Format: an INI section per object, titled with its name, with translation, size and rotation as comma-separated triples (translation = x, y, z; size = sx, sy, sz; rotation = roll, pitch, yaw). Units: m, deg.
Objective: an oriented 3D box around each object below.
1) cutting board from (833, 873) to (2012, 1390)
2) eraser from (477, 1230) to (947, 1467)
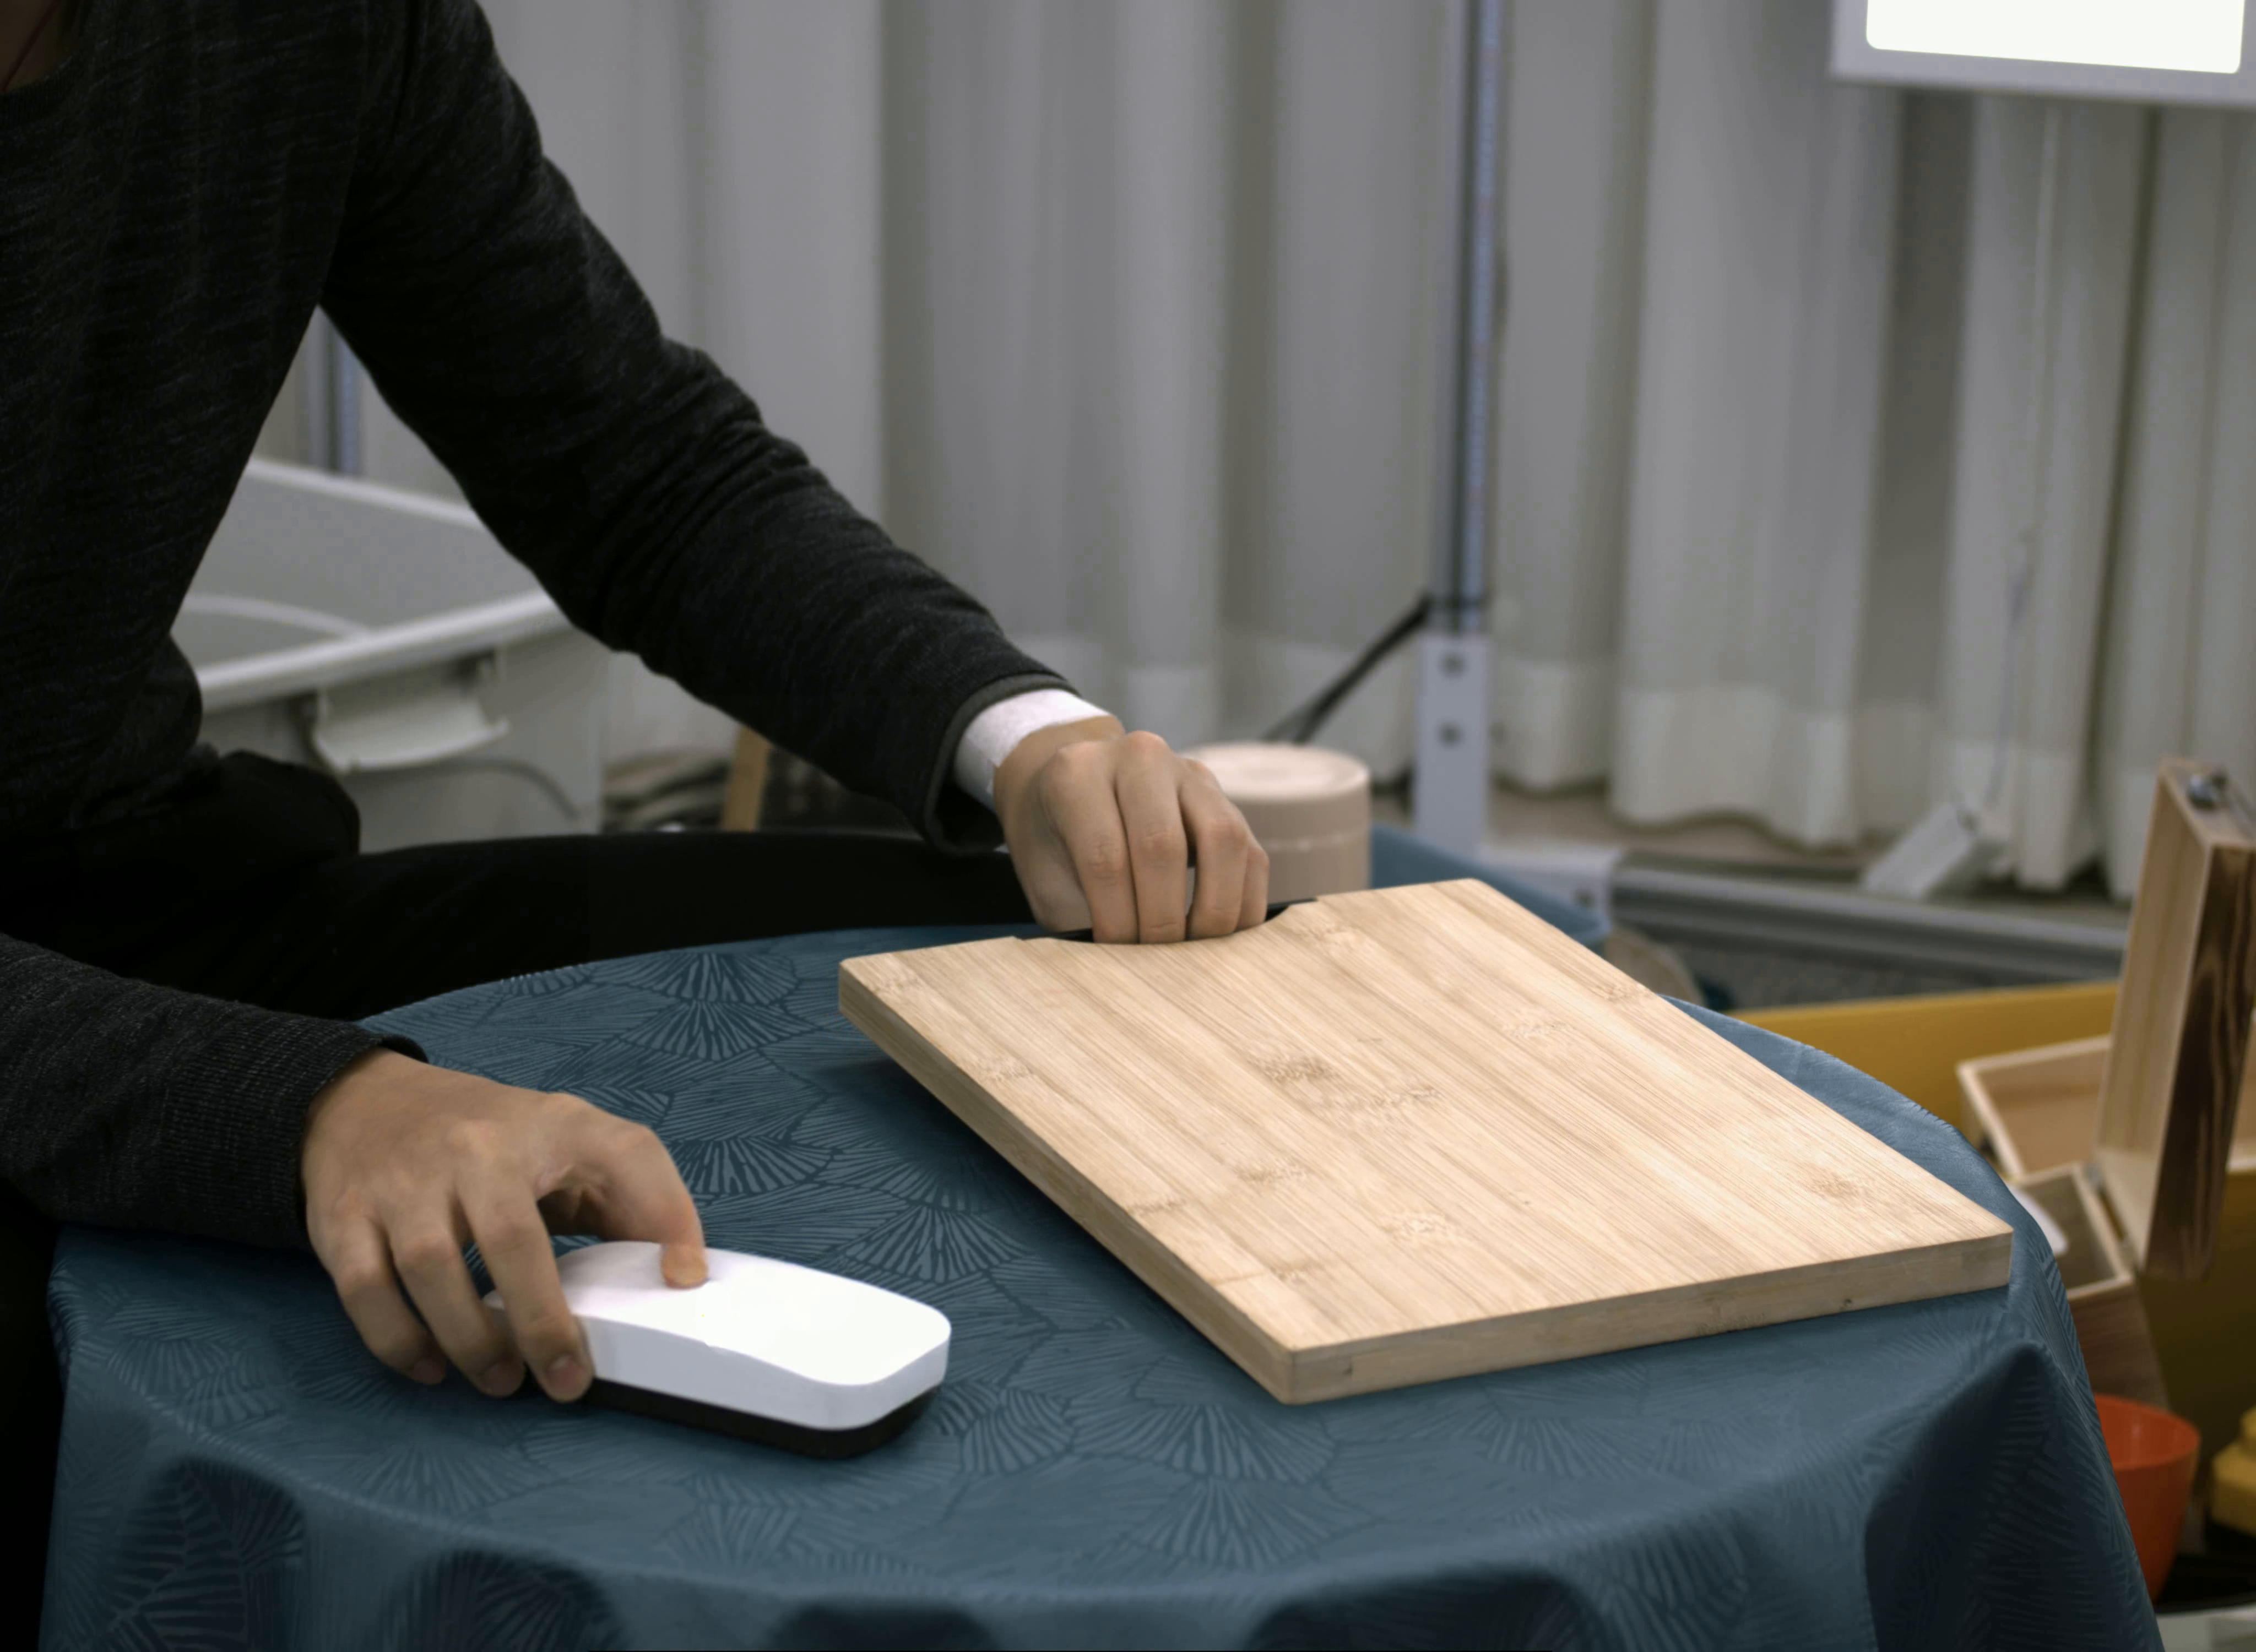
[cutting board]
translation = 0.081, 0.088, 1.645
size = 0.251, 0.024, 0.344
rotation = -7, 20, -25
[eraser]
translation = -0.115, 0.141, 1.454
size = 0.130, 0.035, 0.063
rotation = 11, 21, 30
